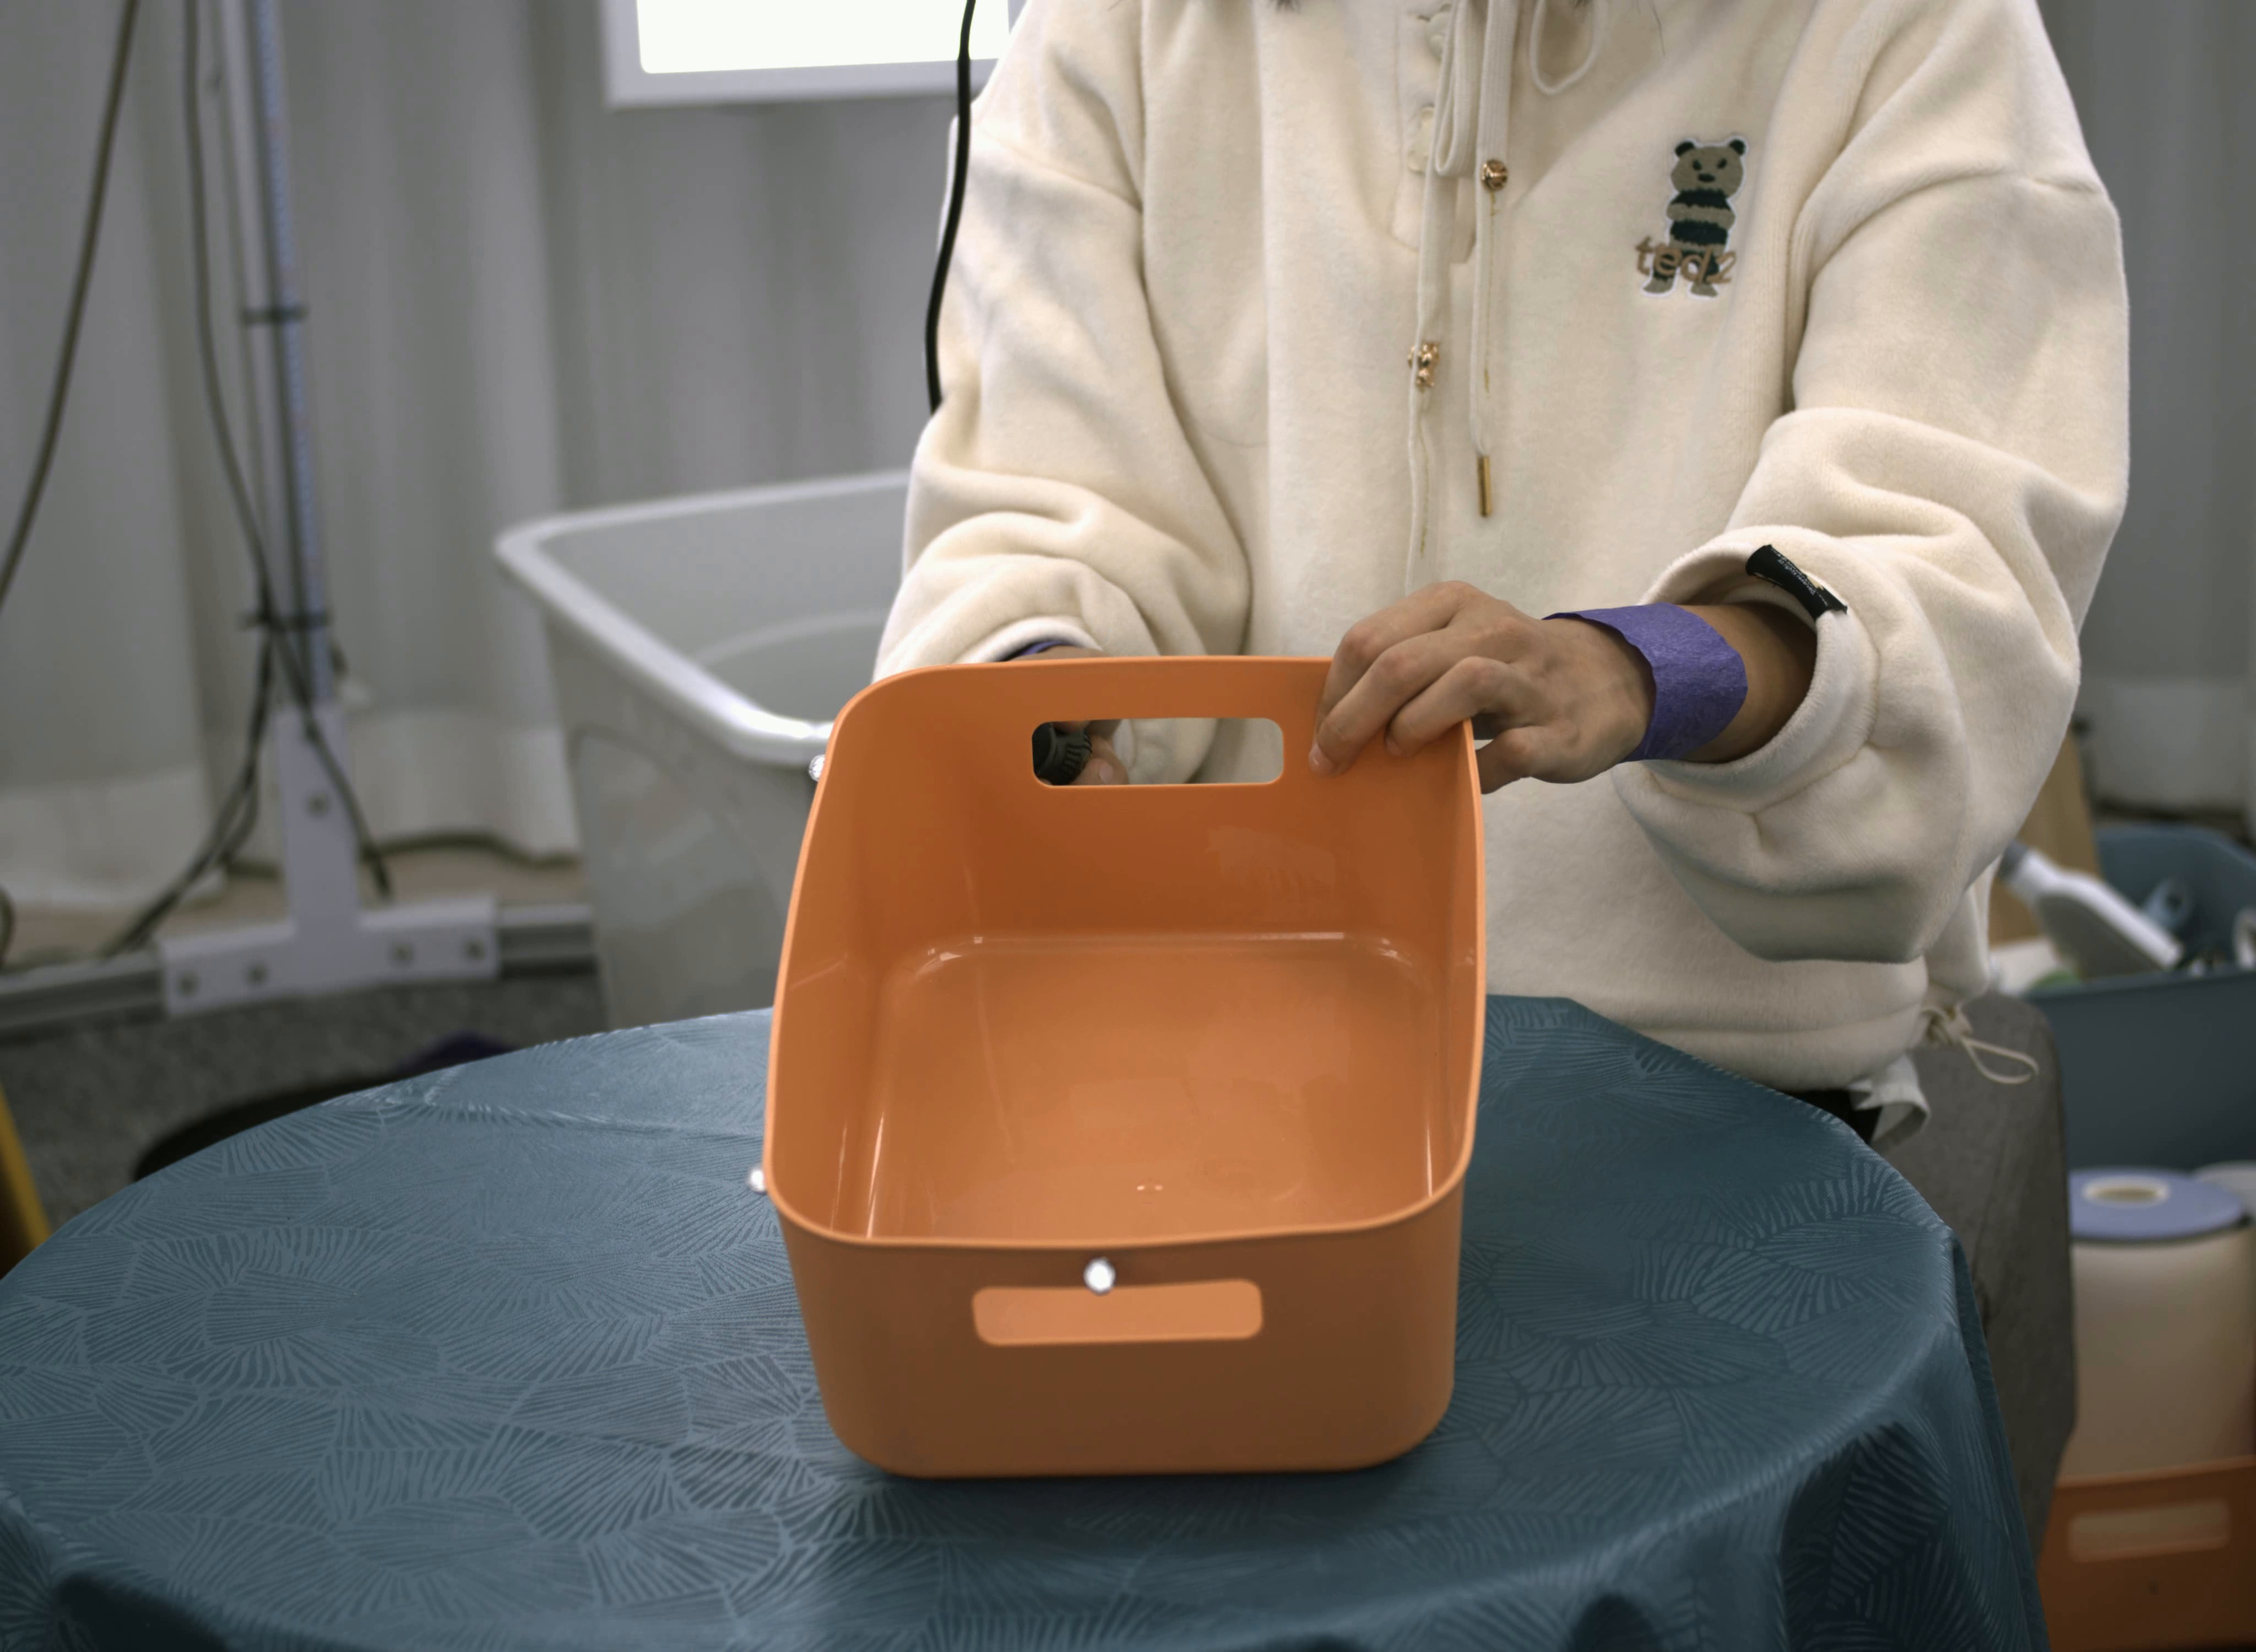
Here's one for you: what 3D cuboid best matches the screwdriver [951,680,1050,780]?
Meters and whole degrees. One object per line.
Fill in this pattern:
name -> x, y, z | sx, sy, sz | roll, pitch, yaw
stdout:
screwdriver -> -0.042, -0.038, 1.769 | 0.031, 0.031, 0.197 | -2, -6, 1

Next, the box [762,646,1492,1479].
box -> 0.006, 0.066, 1.549 | 0.199, 0.101, 0.277 | -2, 36, 4
